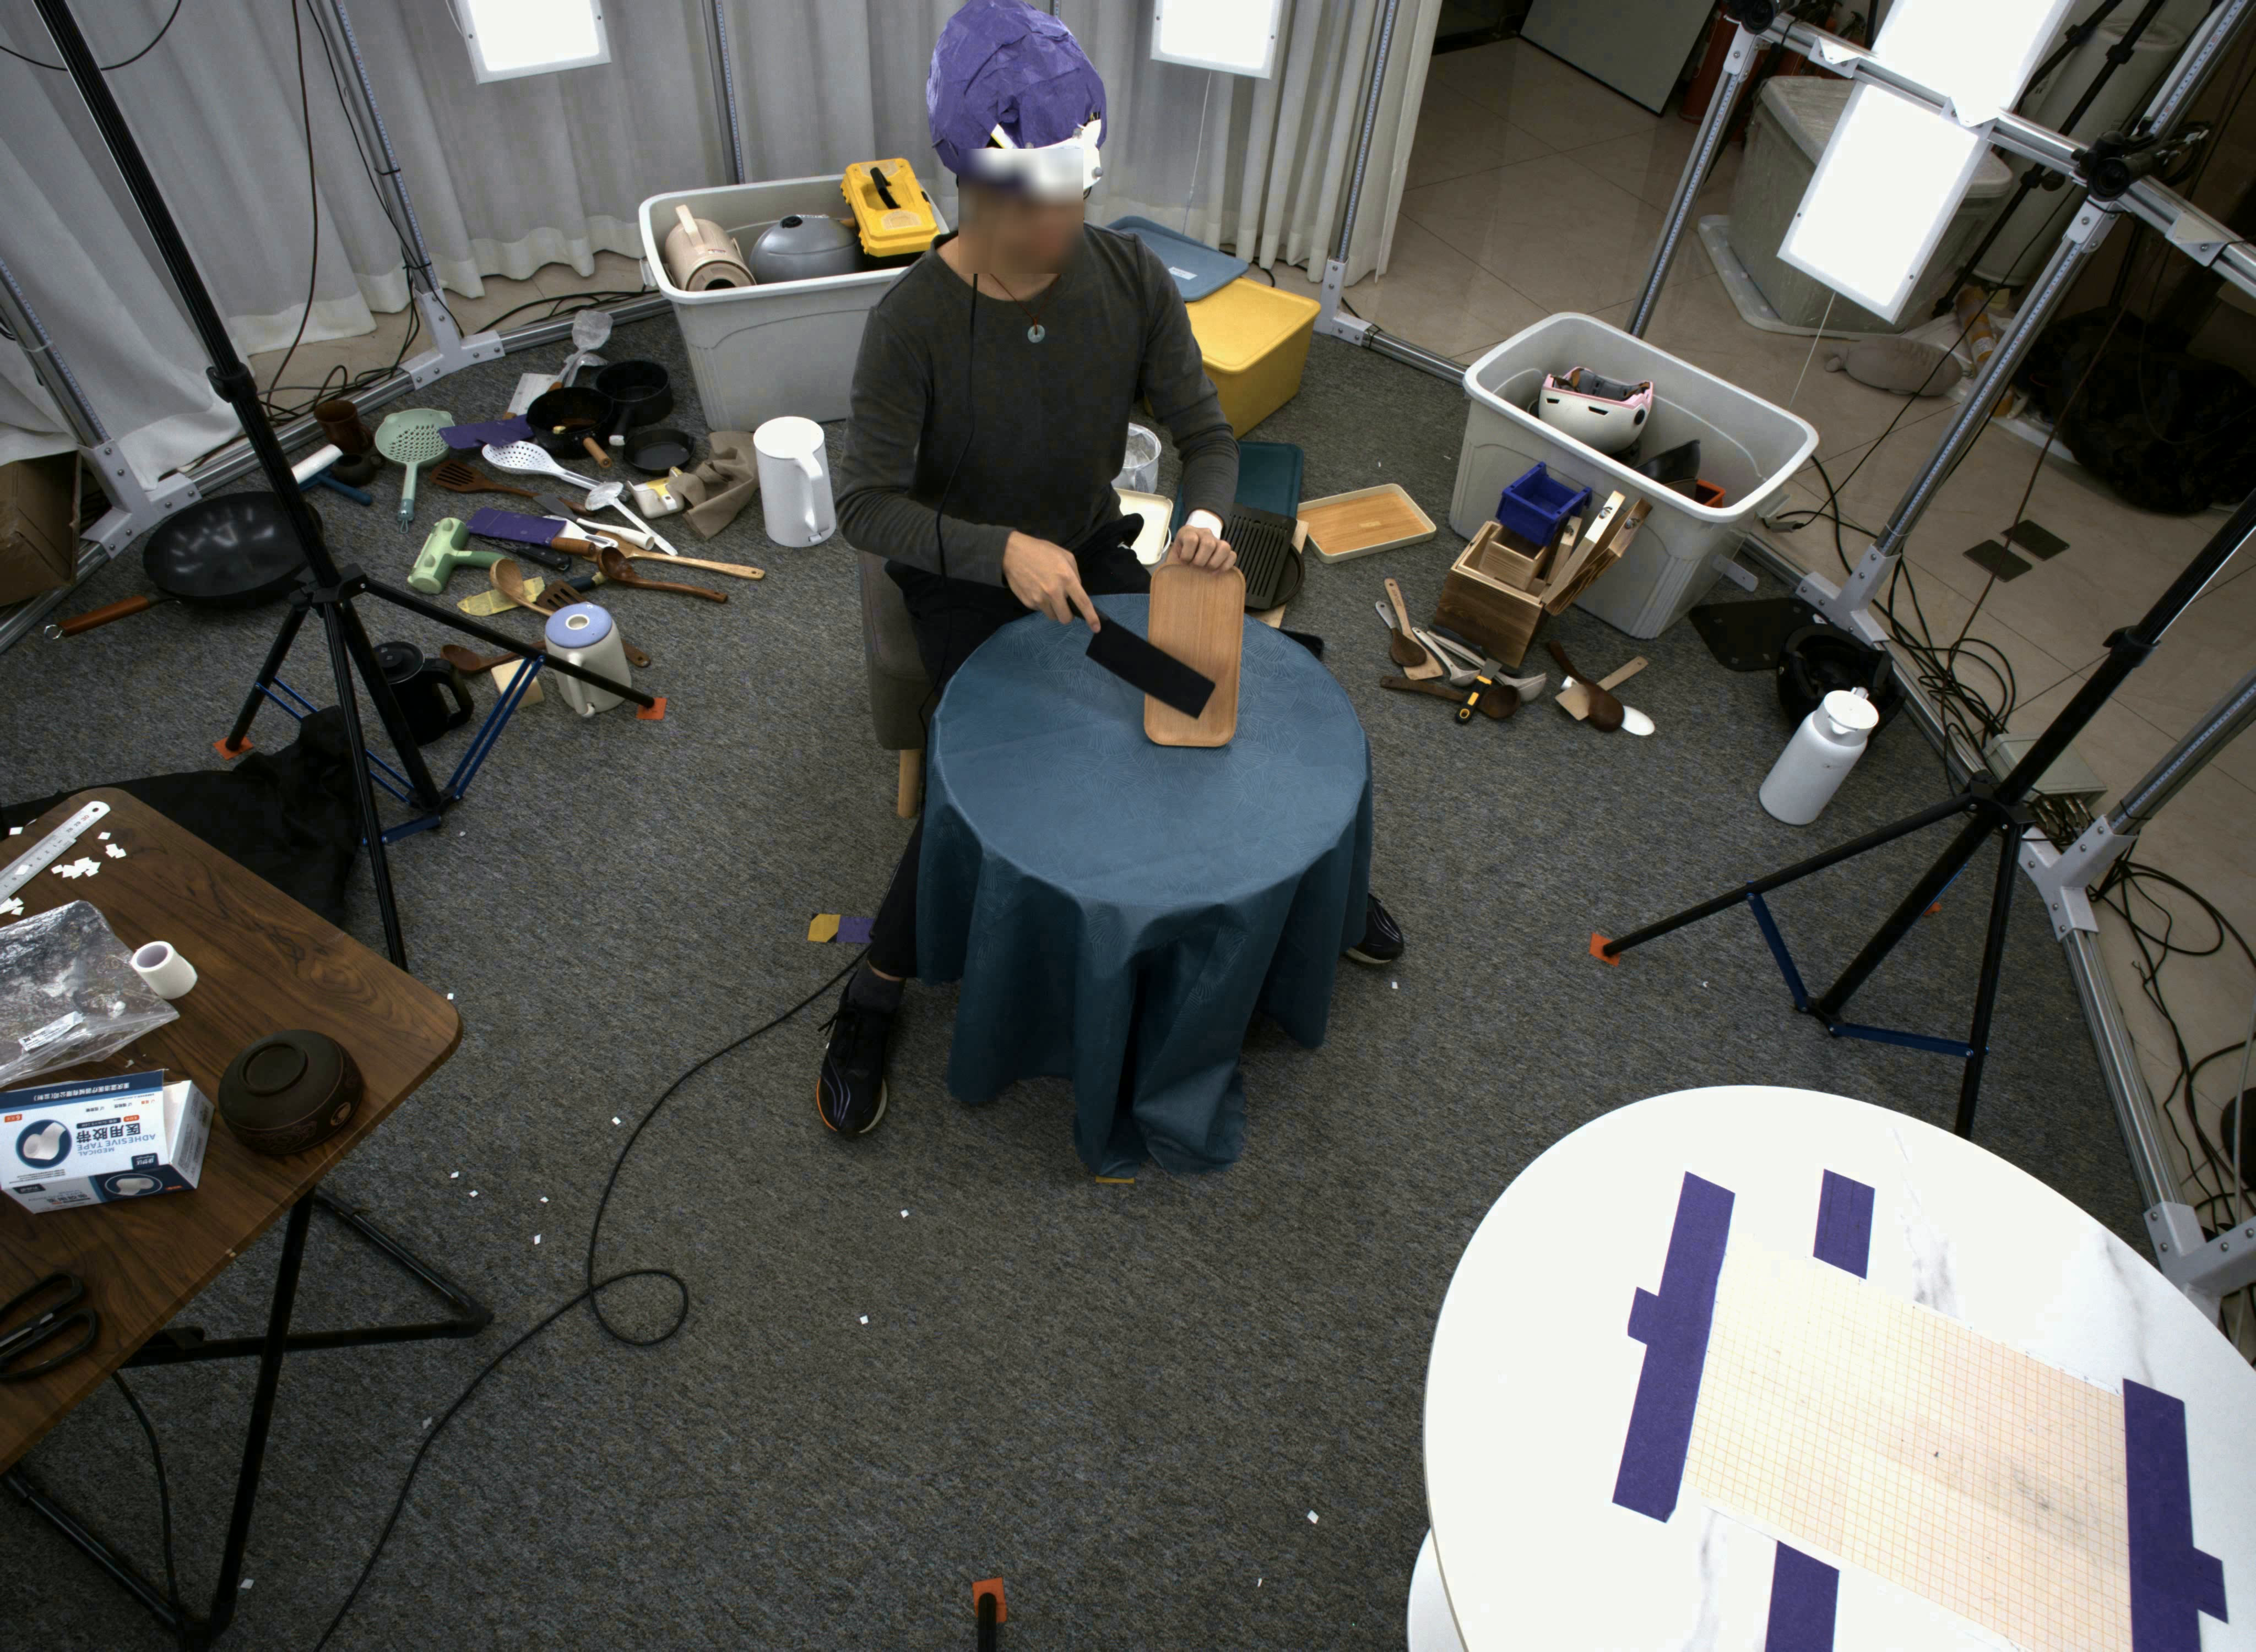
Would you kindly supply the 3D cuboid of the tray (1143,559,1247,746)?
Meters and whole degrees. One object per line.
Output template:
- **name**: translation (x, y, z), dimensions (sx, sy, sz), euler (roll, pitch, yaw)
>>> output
- **tray**: translation (0.089, -0.233, 1.738), dimensions (0.130, 0.248, 0.023), euler (3, 14, -2)

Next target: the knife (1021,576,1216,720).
- **knife**: translation (-0.018, -0.245, 1.738), dimensions (0.303, 0.079, 0.021), euler (36, 29, 7)
